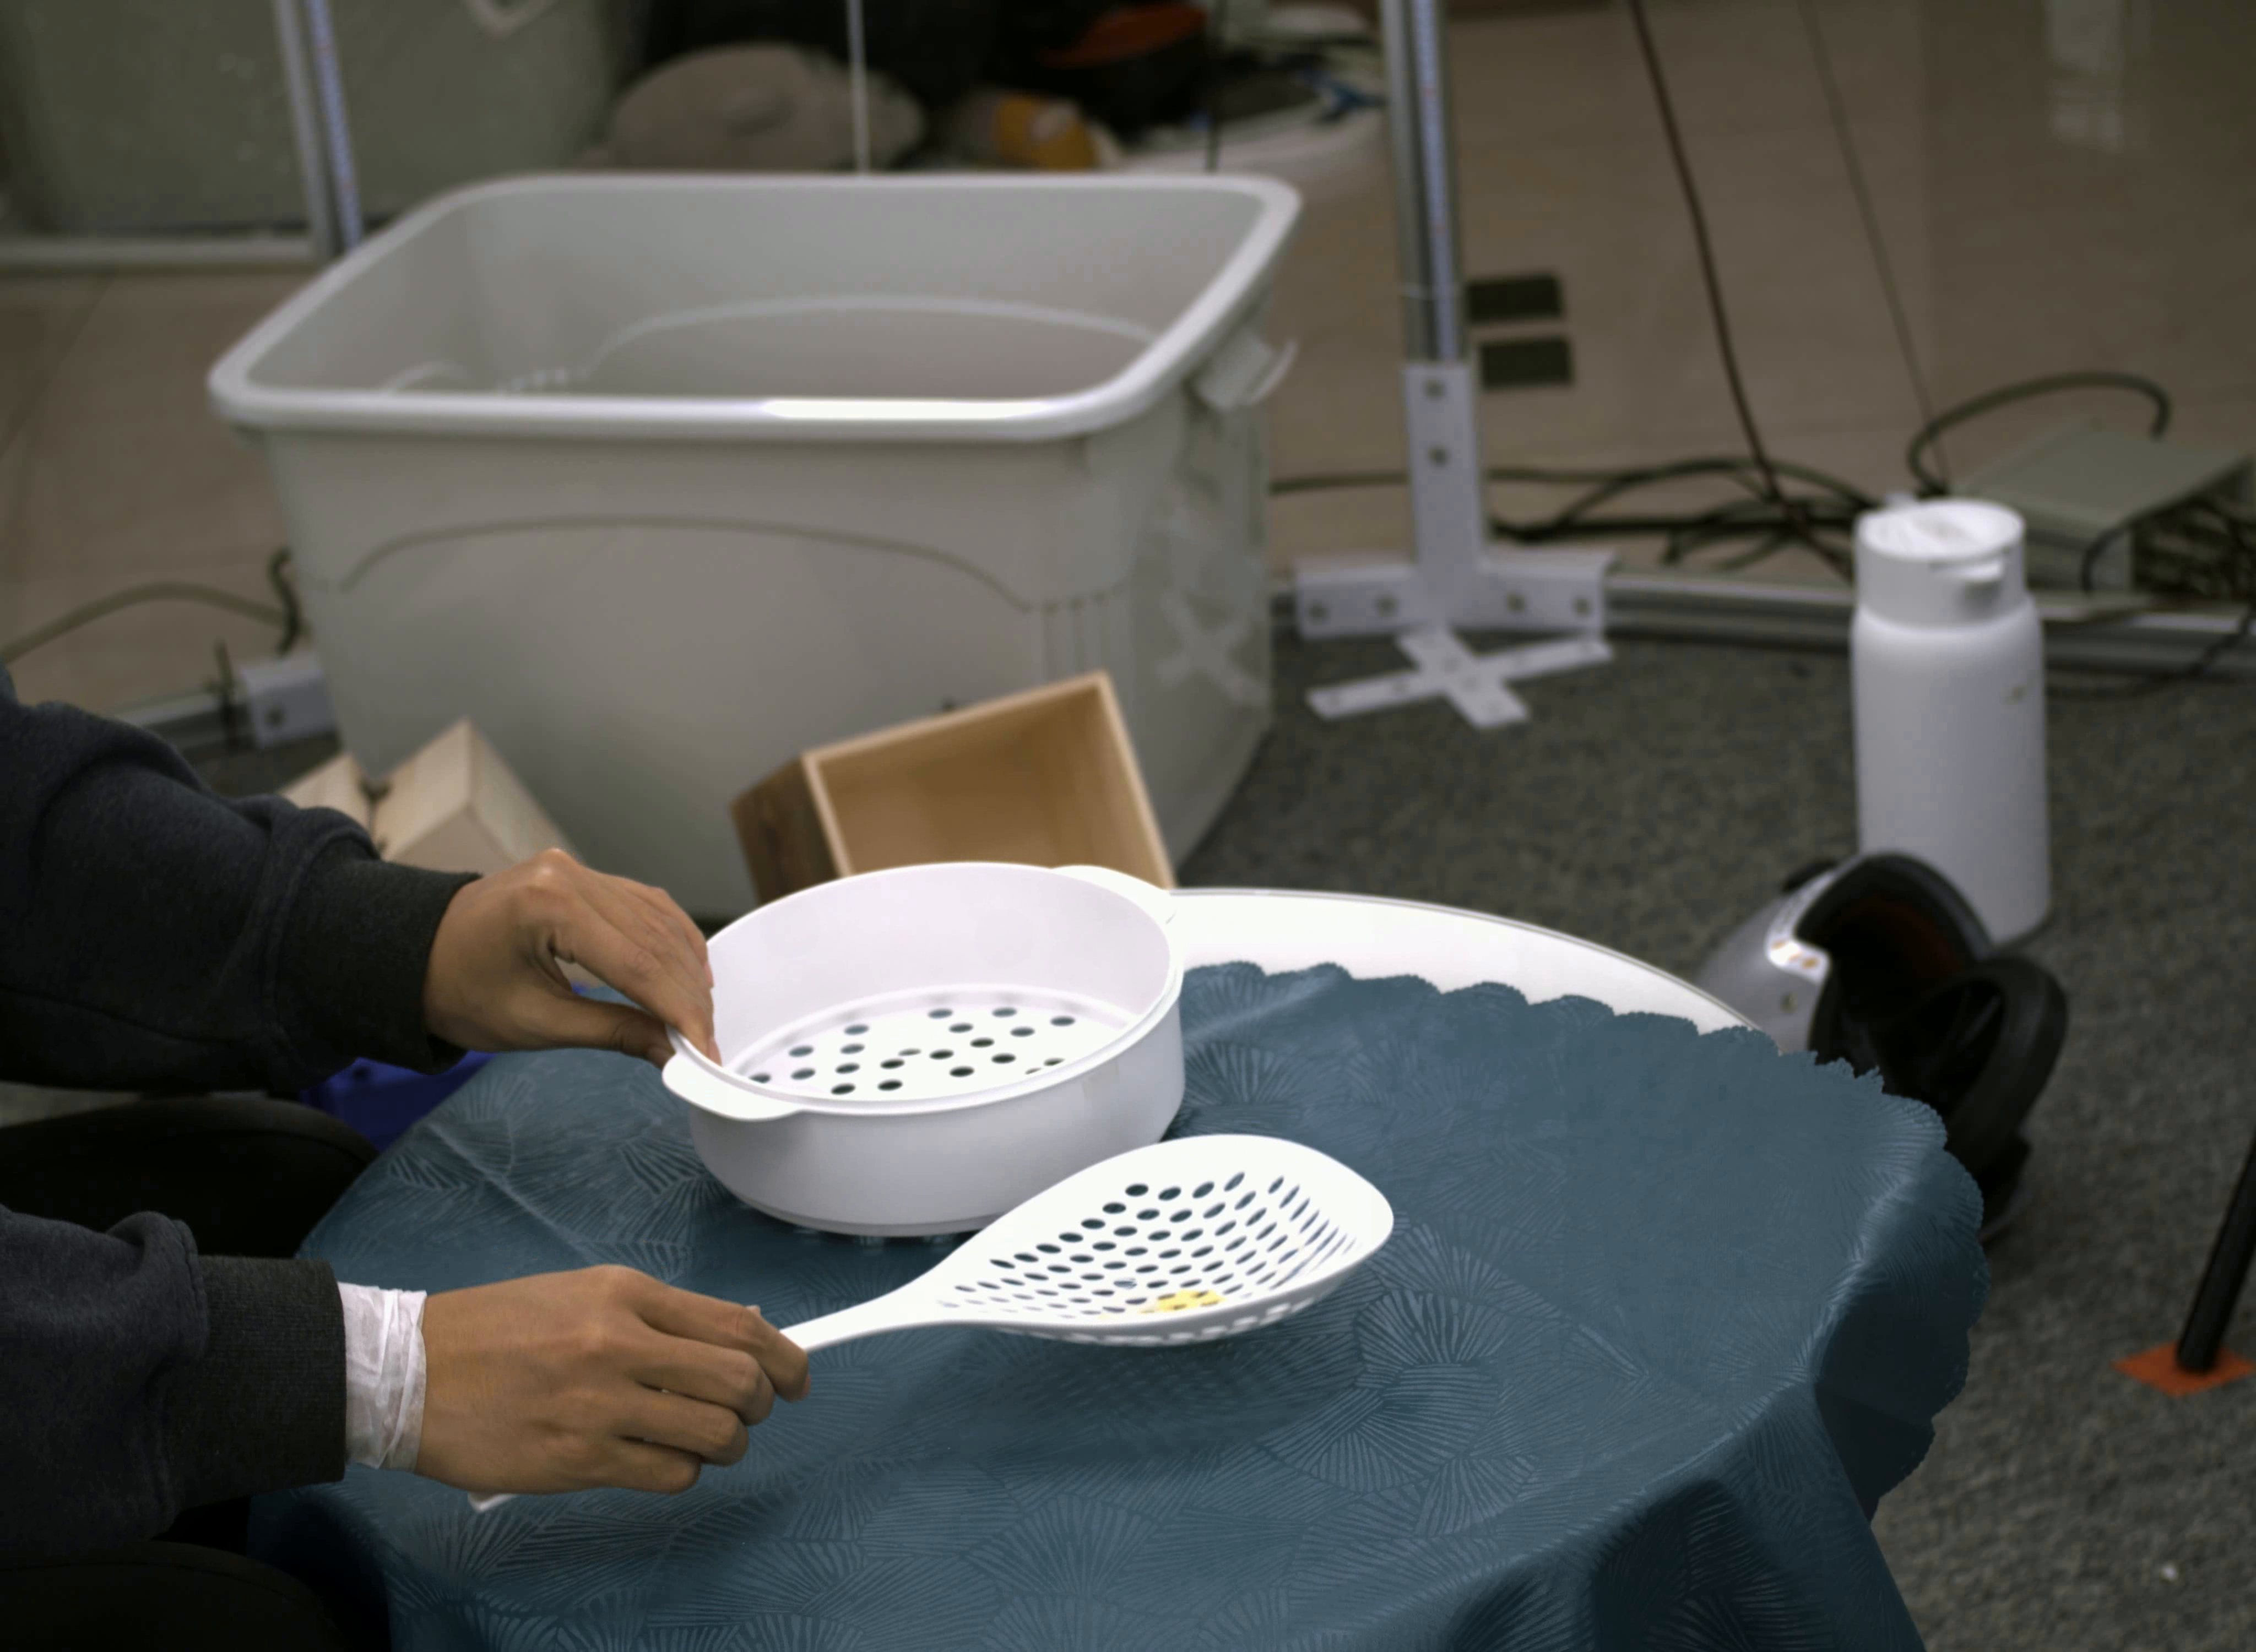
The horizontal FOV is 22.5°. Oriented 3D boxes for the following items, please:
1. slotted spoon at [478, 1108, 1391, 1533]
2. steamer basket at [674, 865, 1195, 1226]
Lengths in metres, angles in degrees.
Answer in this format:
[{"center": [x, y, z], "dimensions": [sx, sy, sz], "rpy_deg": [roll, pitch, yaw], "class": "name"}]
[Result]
[{"center": [-0.070, 0.176, 1.992], "dimensions": [0.346, 0.051, 0.135], "rpy_deg": [-14, 26, -24], "class": "slotted spoon"}, {"center": [-0.072, 0.086, 2.194], "dimensions": [0.229, 0.070, 0.200], "rpy_deg": [-25, 32, -37], "class": "steamer basket"}]
